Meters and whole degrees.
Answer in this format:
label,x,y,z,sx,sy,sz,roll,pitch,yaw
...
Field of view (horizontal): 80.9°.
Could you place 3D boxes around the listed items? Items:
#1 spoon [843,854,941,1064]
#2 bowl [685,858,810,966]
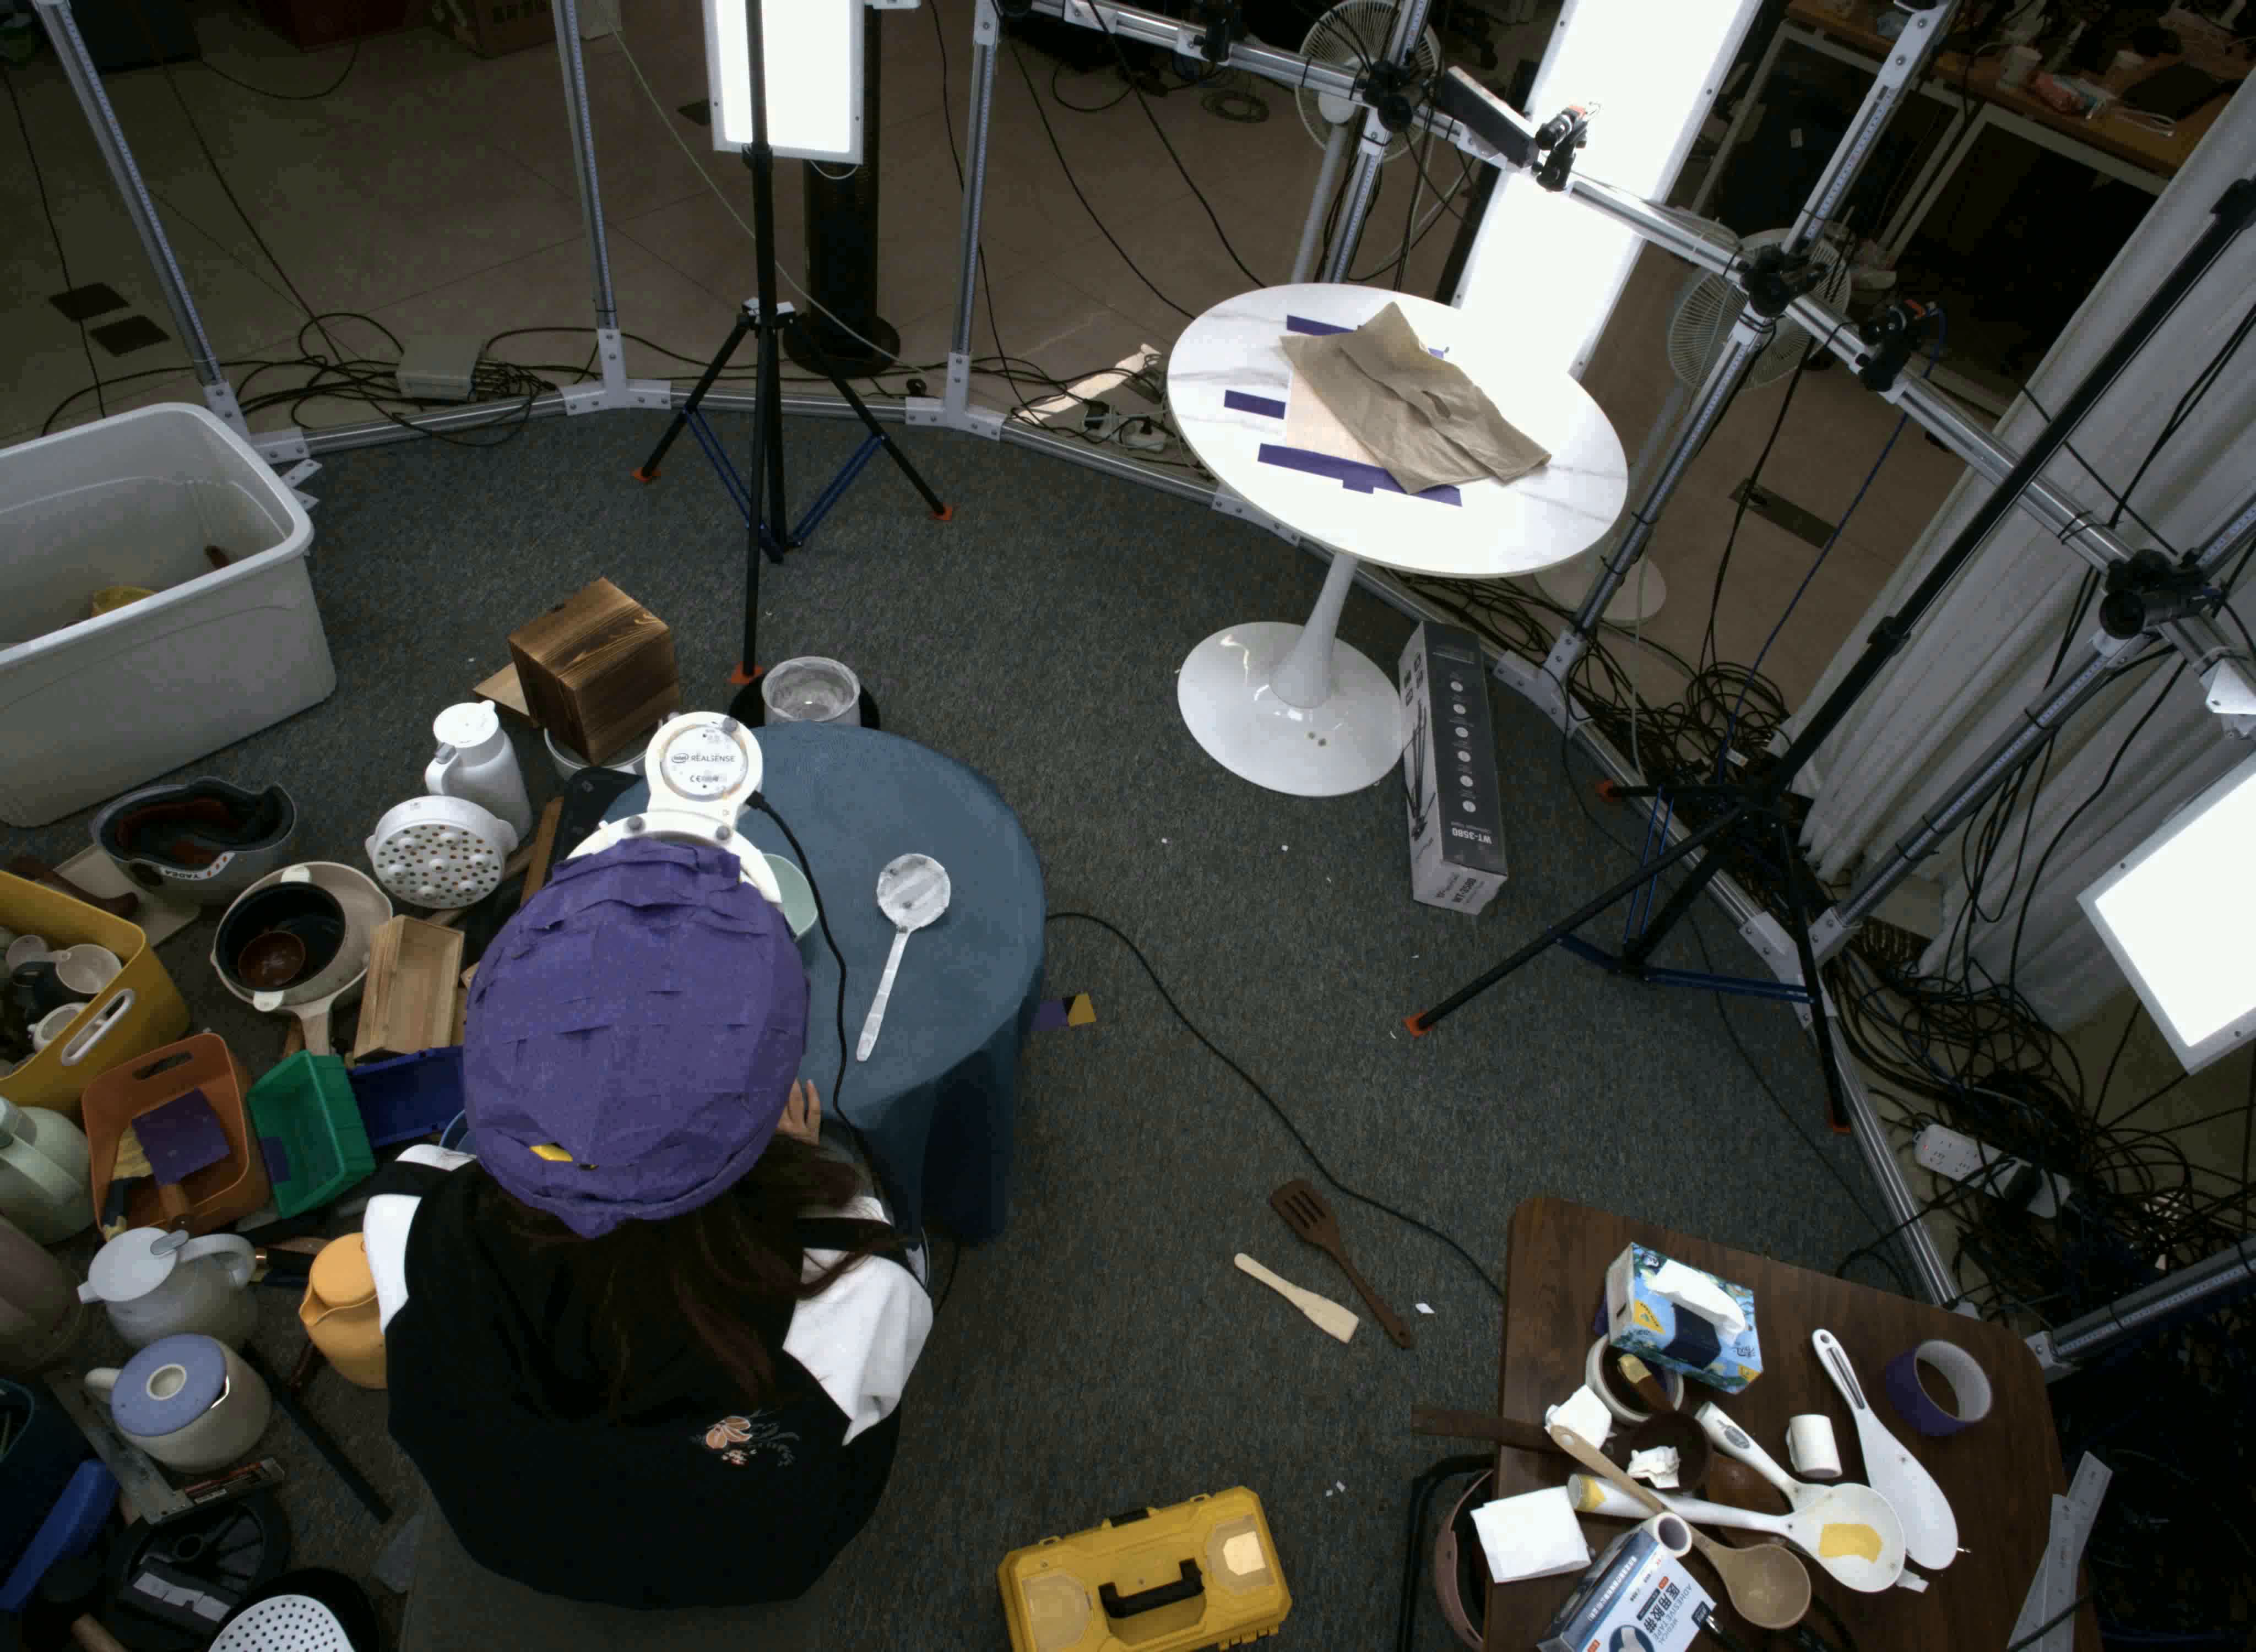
label,x,y,z,sx,sy,sz,roll,pitch,yaw
spoon,-0.307,0.155,1.597,0.099,0.061,0.274,13,51,2
bowl,-0.465,0.114,1.589,0.151,0.060,0.149,8,52,-8
